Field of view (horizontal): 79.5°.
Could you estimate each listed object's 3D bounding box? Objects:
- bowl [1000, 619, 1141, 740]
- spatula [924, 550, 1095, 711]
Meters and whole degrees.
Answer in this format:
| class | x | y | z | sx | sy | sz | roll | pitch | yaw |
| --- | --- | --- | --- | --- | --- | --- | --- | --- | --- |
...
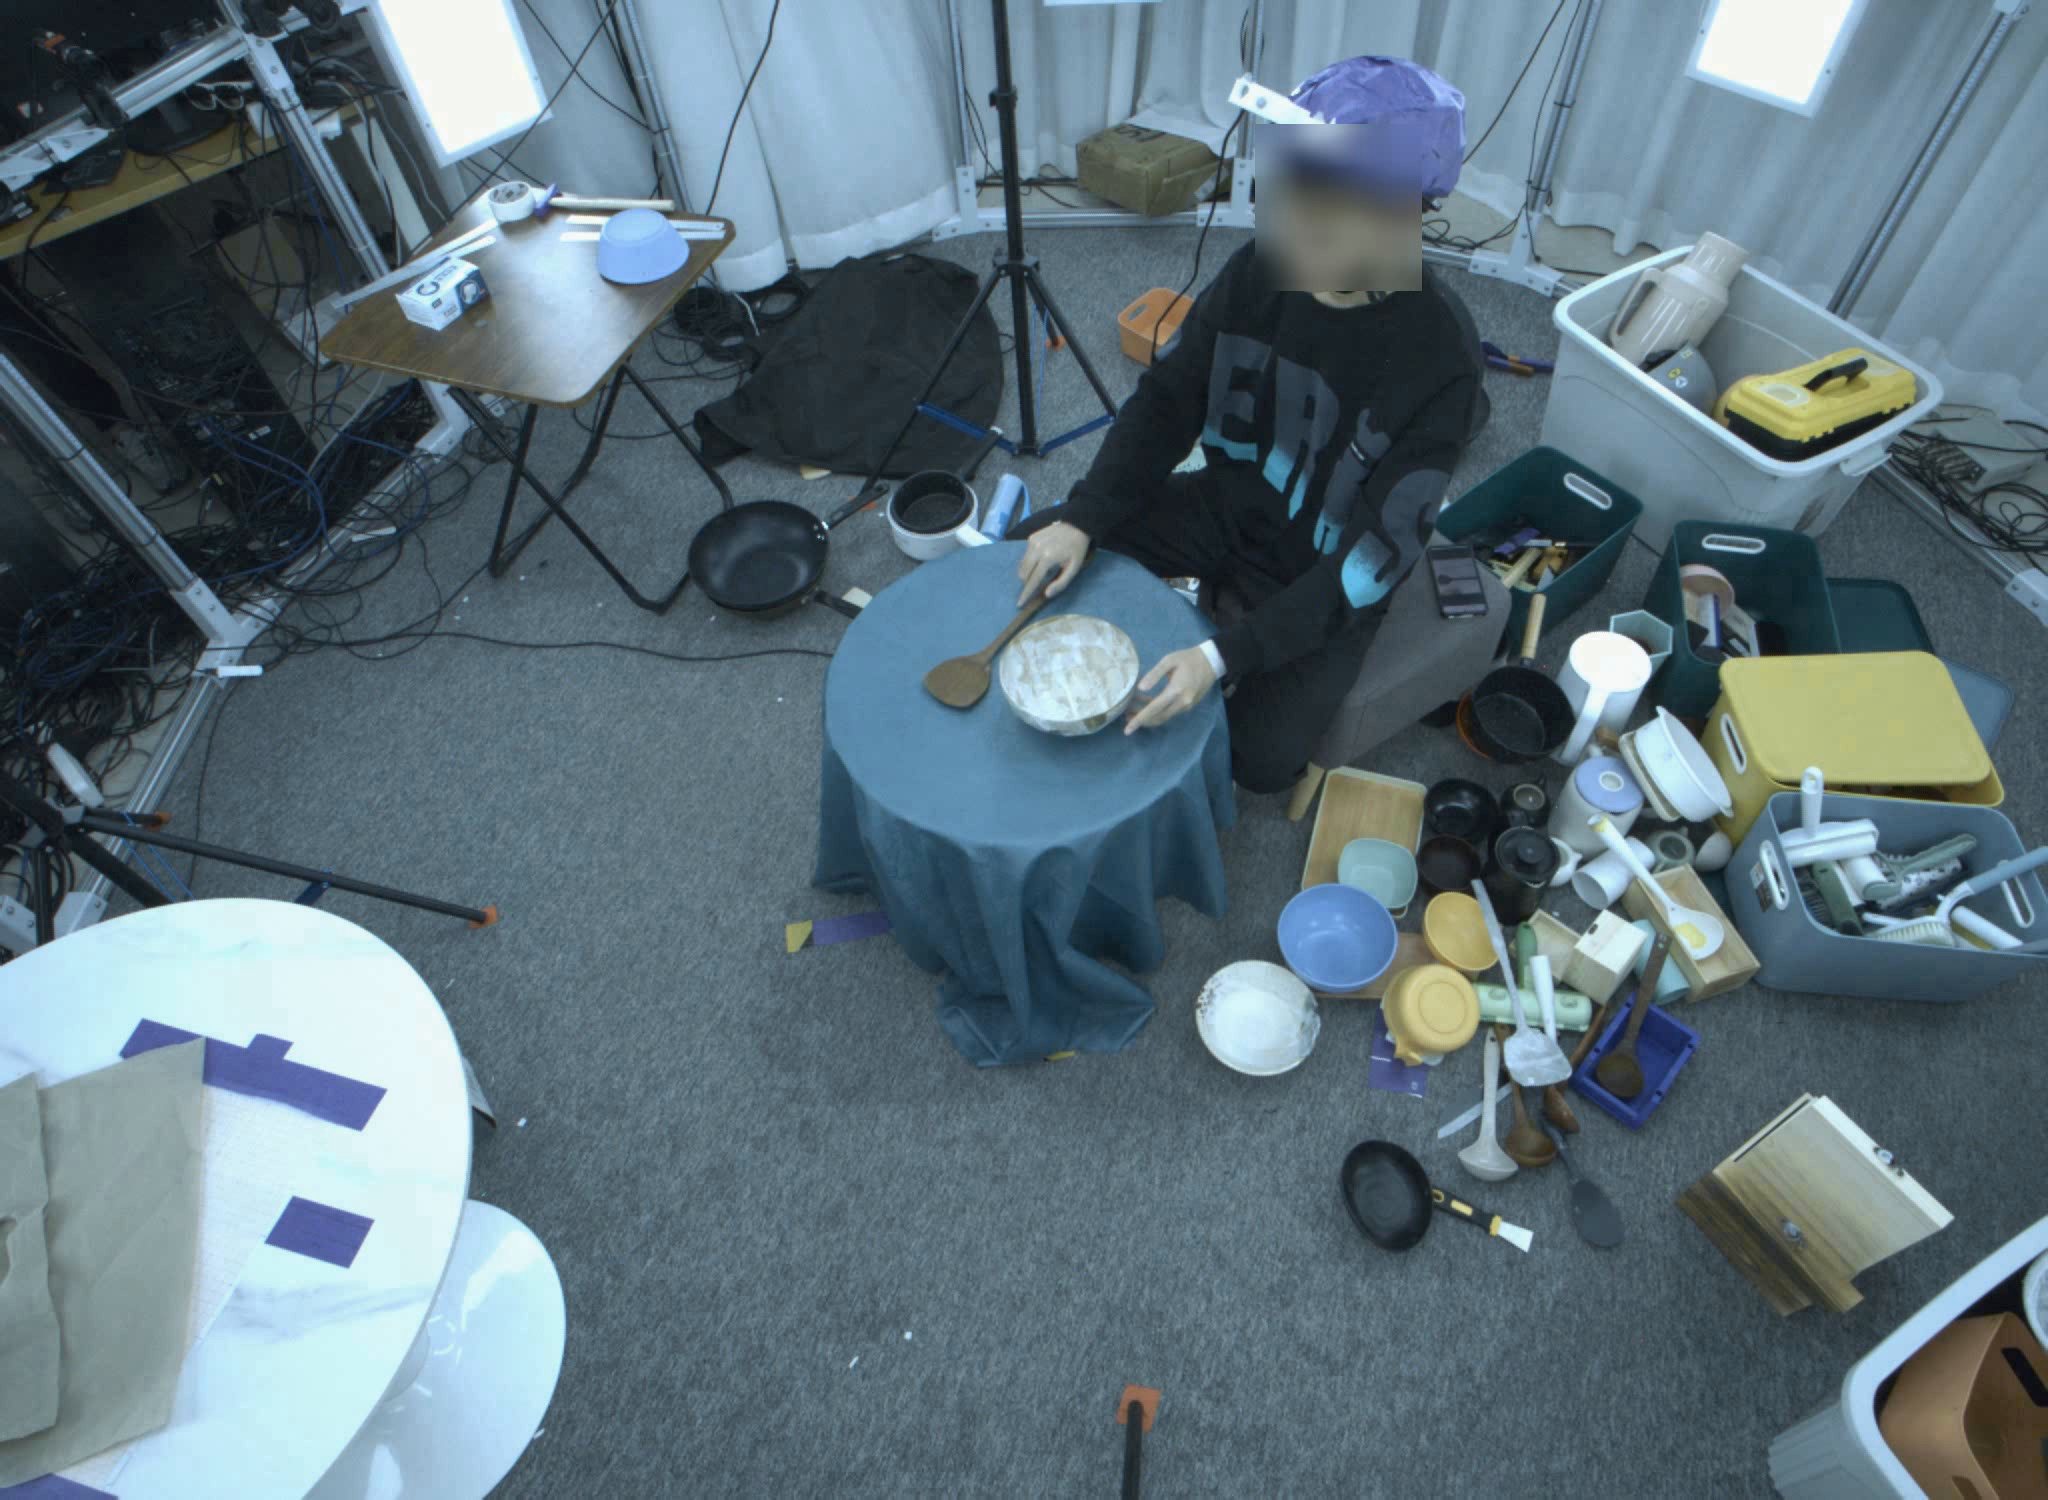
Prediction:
| class | x | y | z | sx | sy | sz | roll | pitch | yaw |
| --- | --- | --- | --- | --- | --- | --- | --- | --- | --- |
| bowl | 0.073 | -0.090 | 1.802 | 0.214 | 0.095 | 0.212 | 0 | 53 | 2 |
| spatula | -0.007 | -0.199 | 1.926 | 0.094 | 0.016 | 0.388 | 32 | 63 | 21 |
